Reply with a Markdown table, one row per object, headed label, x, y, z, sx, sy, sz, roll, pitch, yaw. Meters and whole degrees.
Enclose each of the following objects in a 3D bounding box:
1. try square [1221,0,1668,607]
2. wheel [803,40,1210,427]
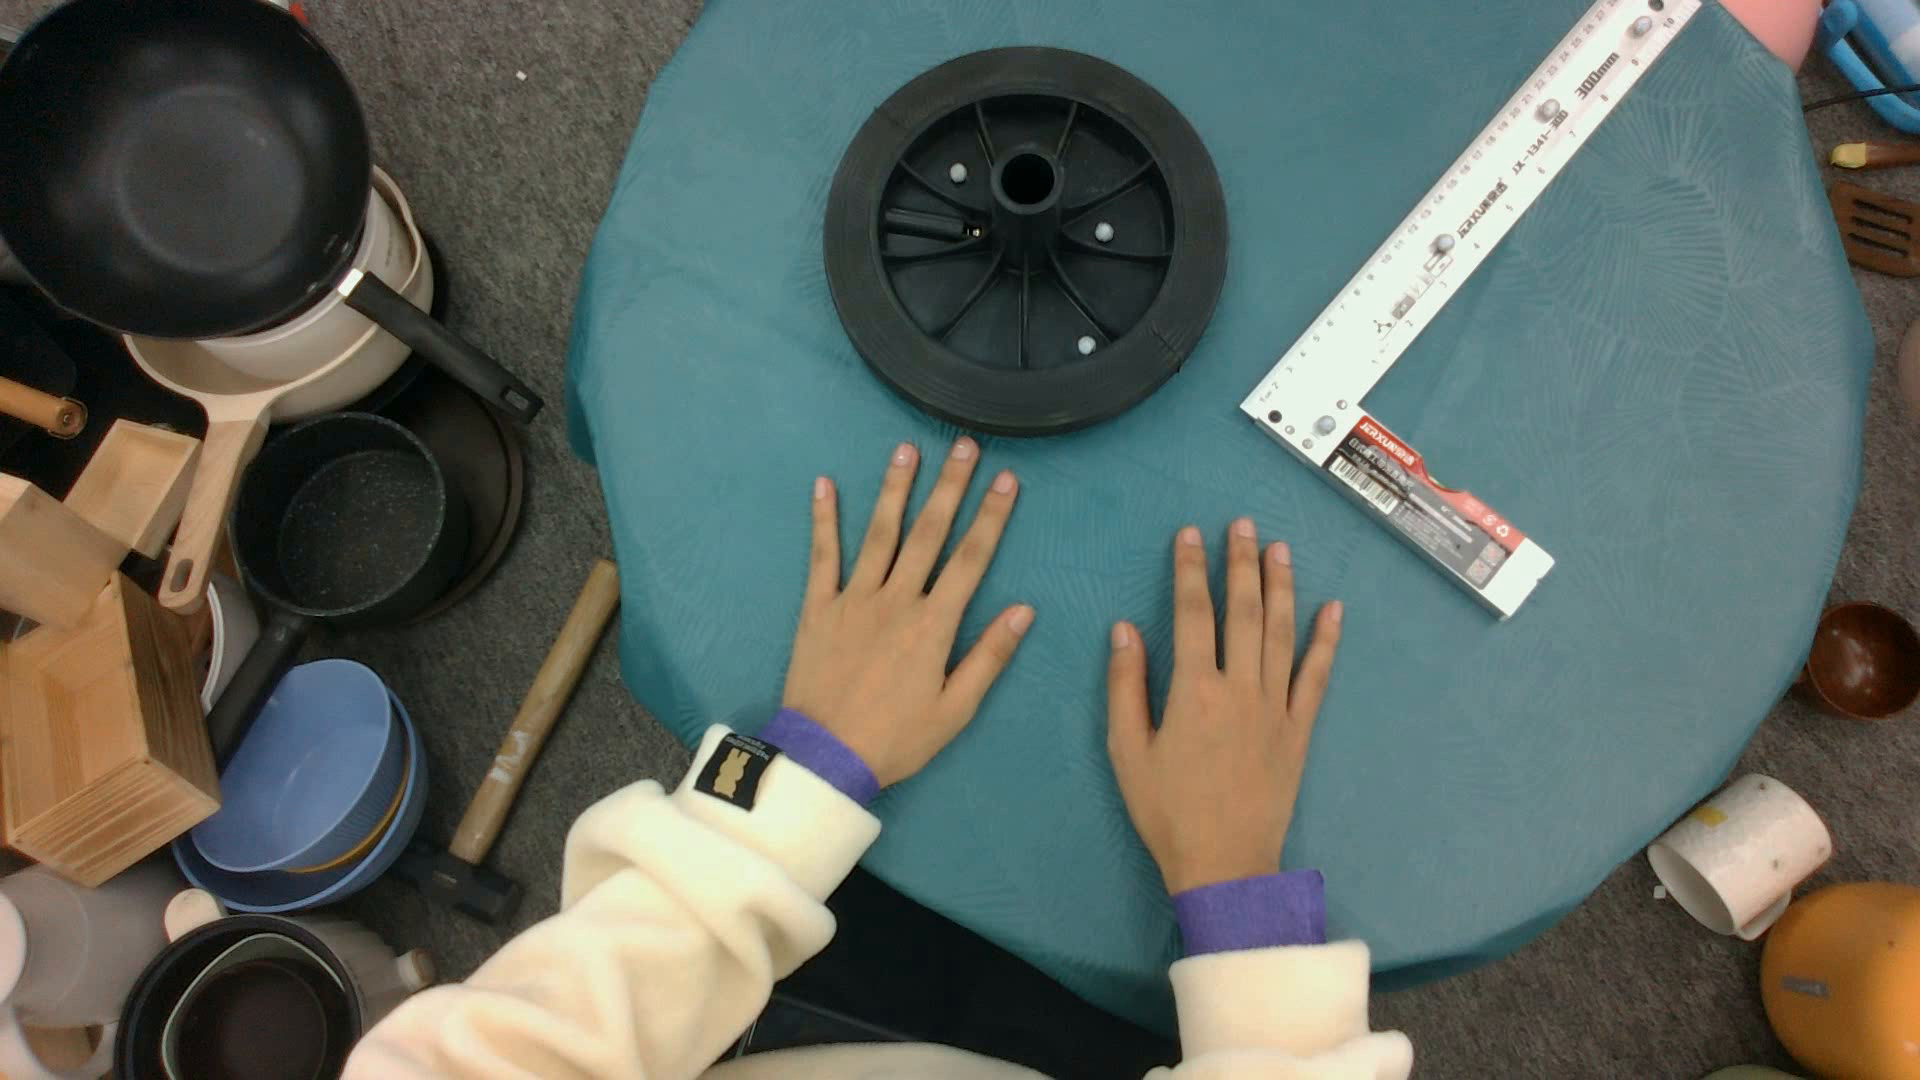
| label | x | y | z | sx | sy | sz | roll | pitch | yaw |
| --- | --- | --- | --- | --- | --- | --- | --- | --- | --- |
| try square | 0.276 | -0.132 | 0.654 | 0.152 | 0.016 | 0.313 | 41 | 81 | 5 |
| wheel | 0.021 | -0.149 | 0.623 | 0.190 | 0.079 | 0.187 | -13 | 78 | -2 |
